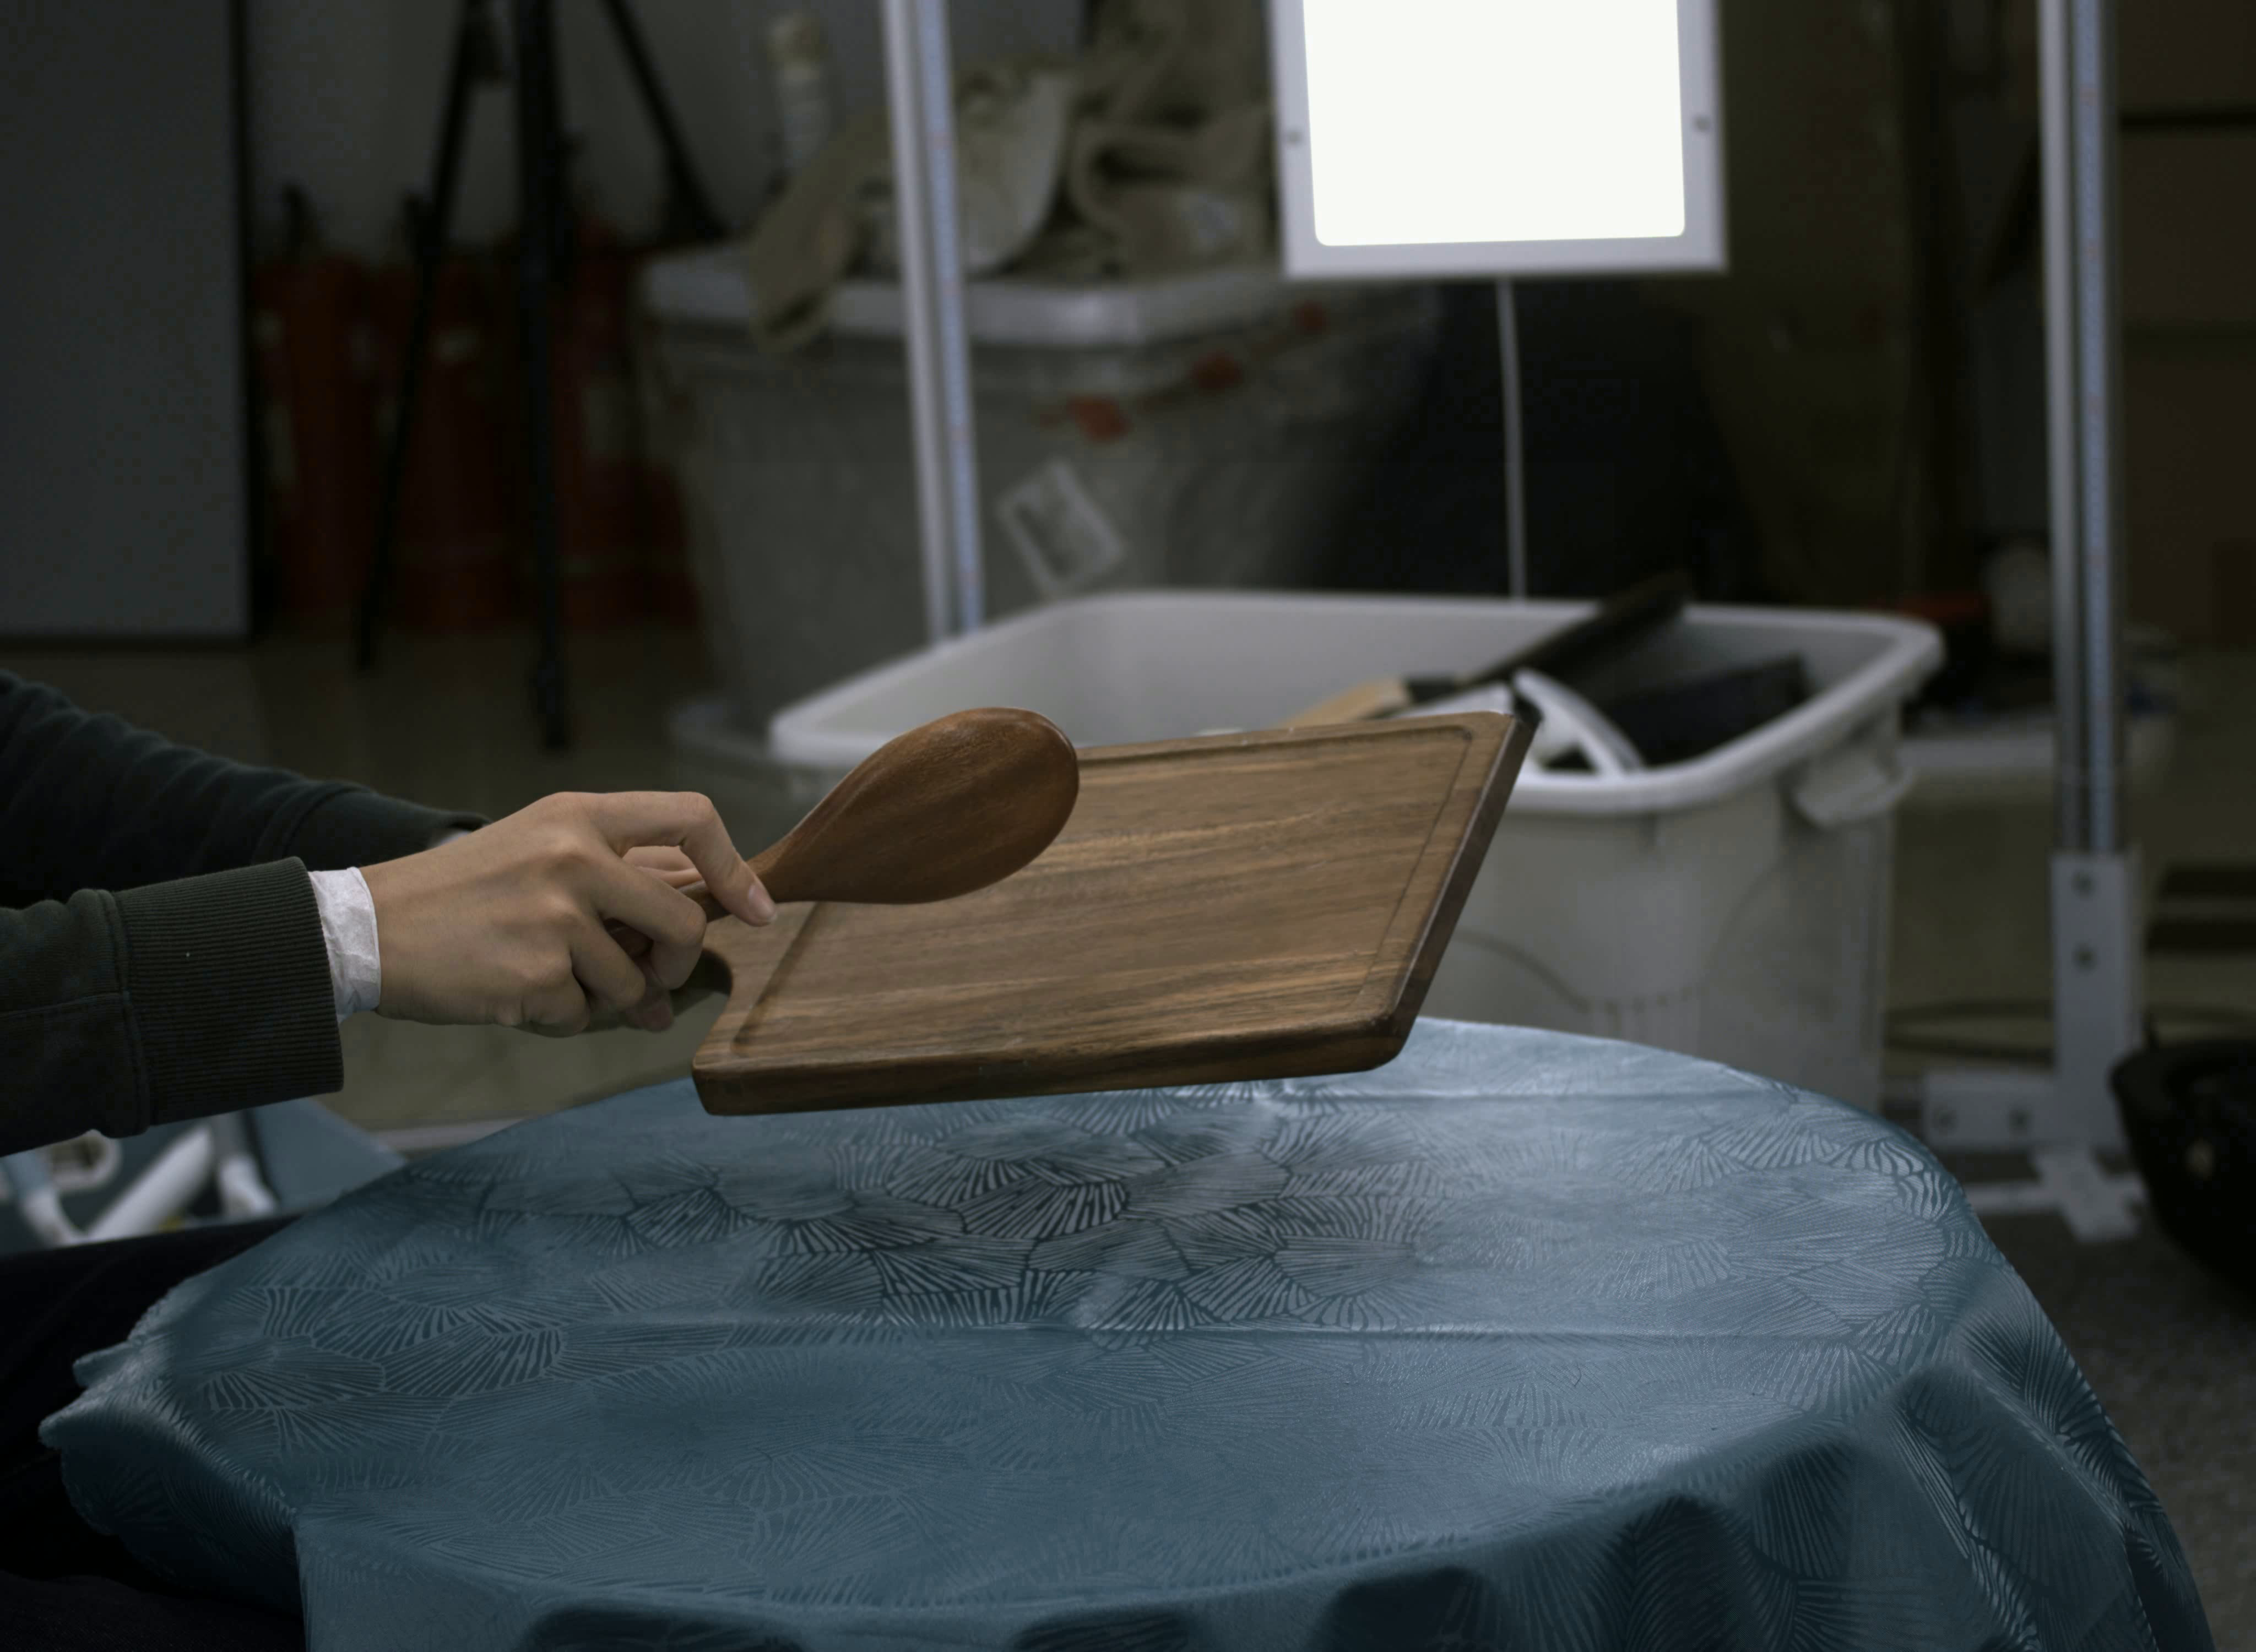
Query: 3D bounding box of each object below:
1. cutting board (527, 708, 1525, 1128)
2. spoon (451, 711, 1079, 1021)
[{"bbox_3d":[-0.049,0.034,1.886,0.358,0.023,0.198,-6,32,24],"label":"cutting board"},{"bbox_3d":[-0.114,0.018,1.773,0.214,0.075,0.017,-20,48,-7],"label":"spoon"}]
